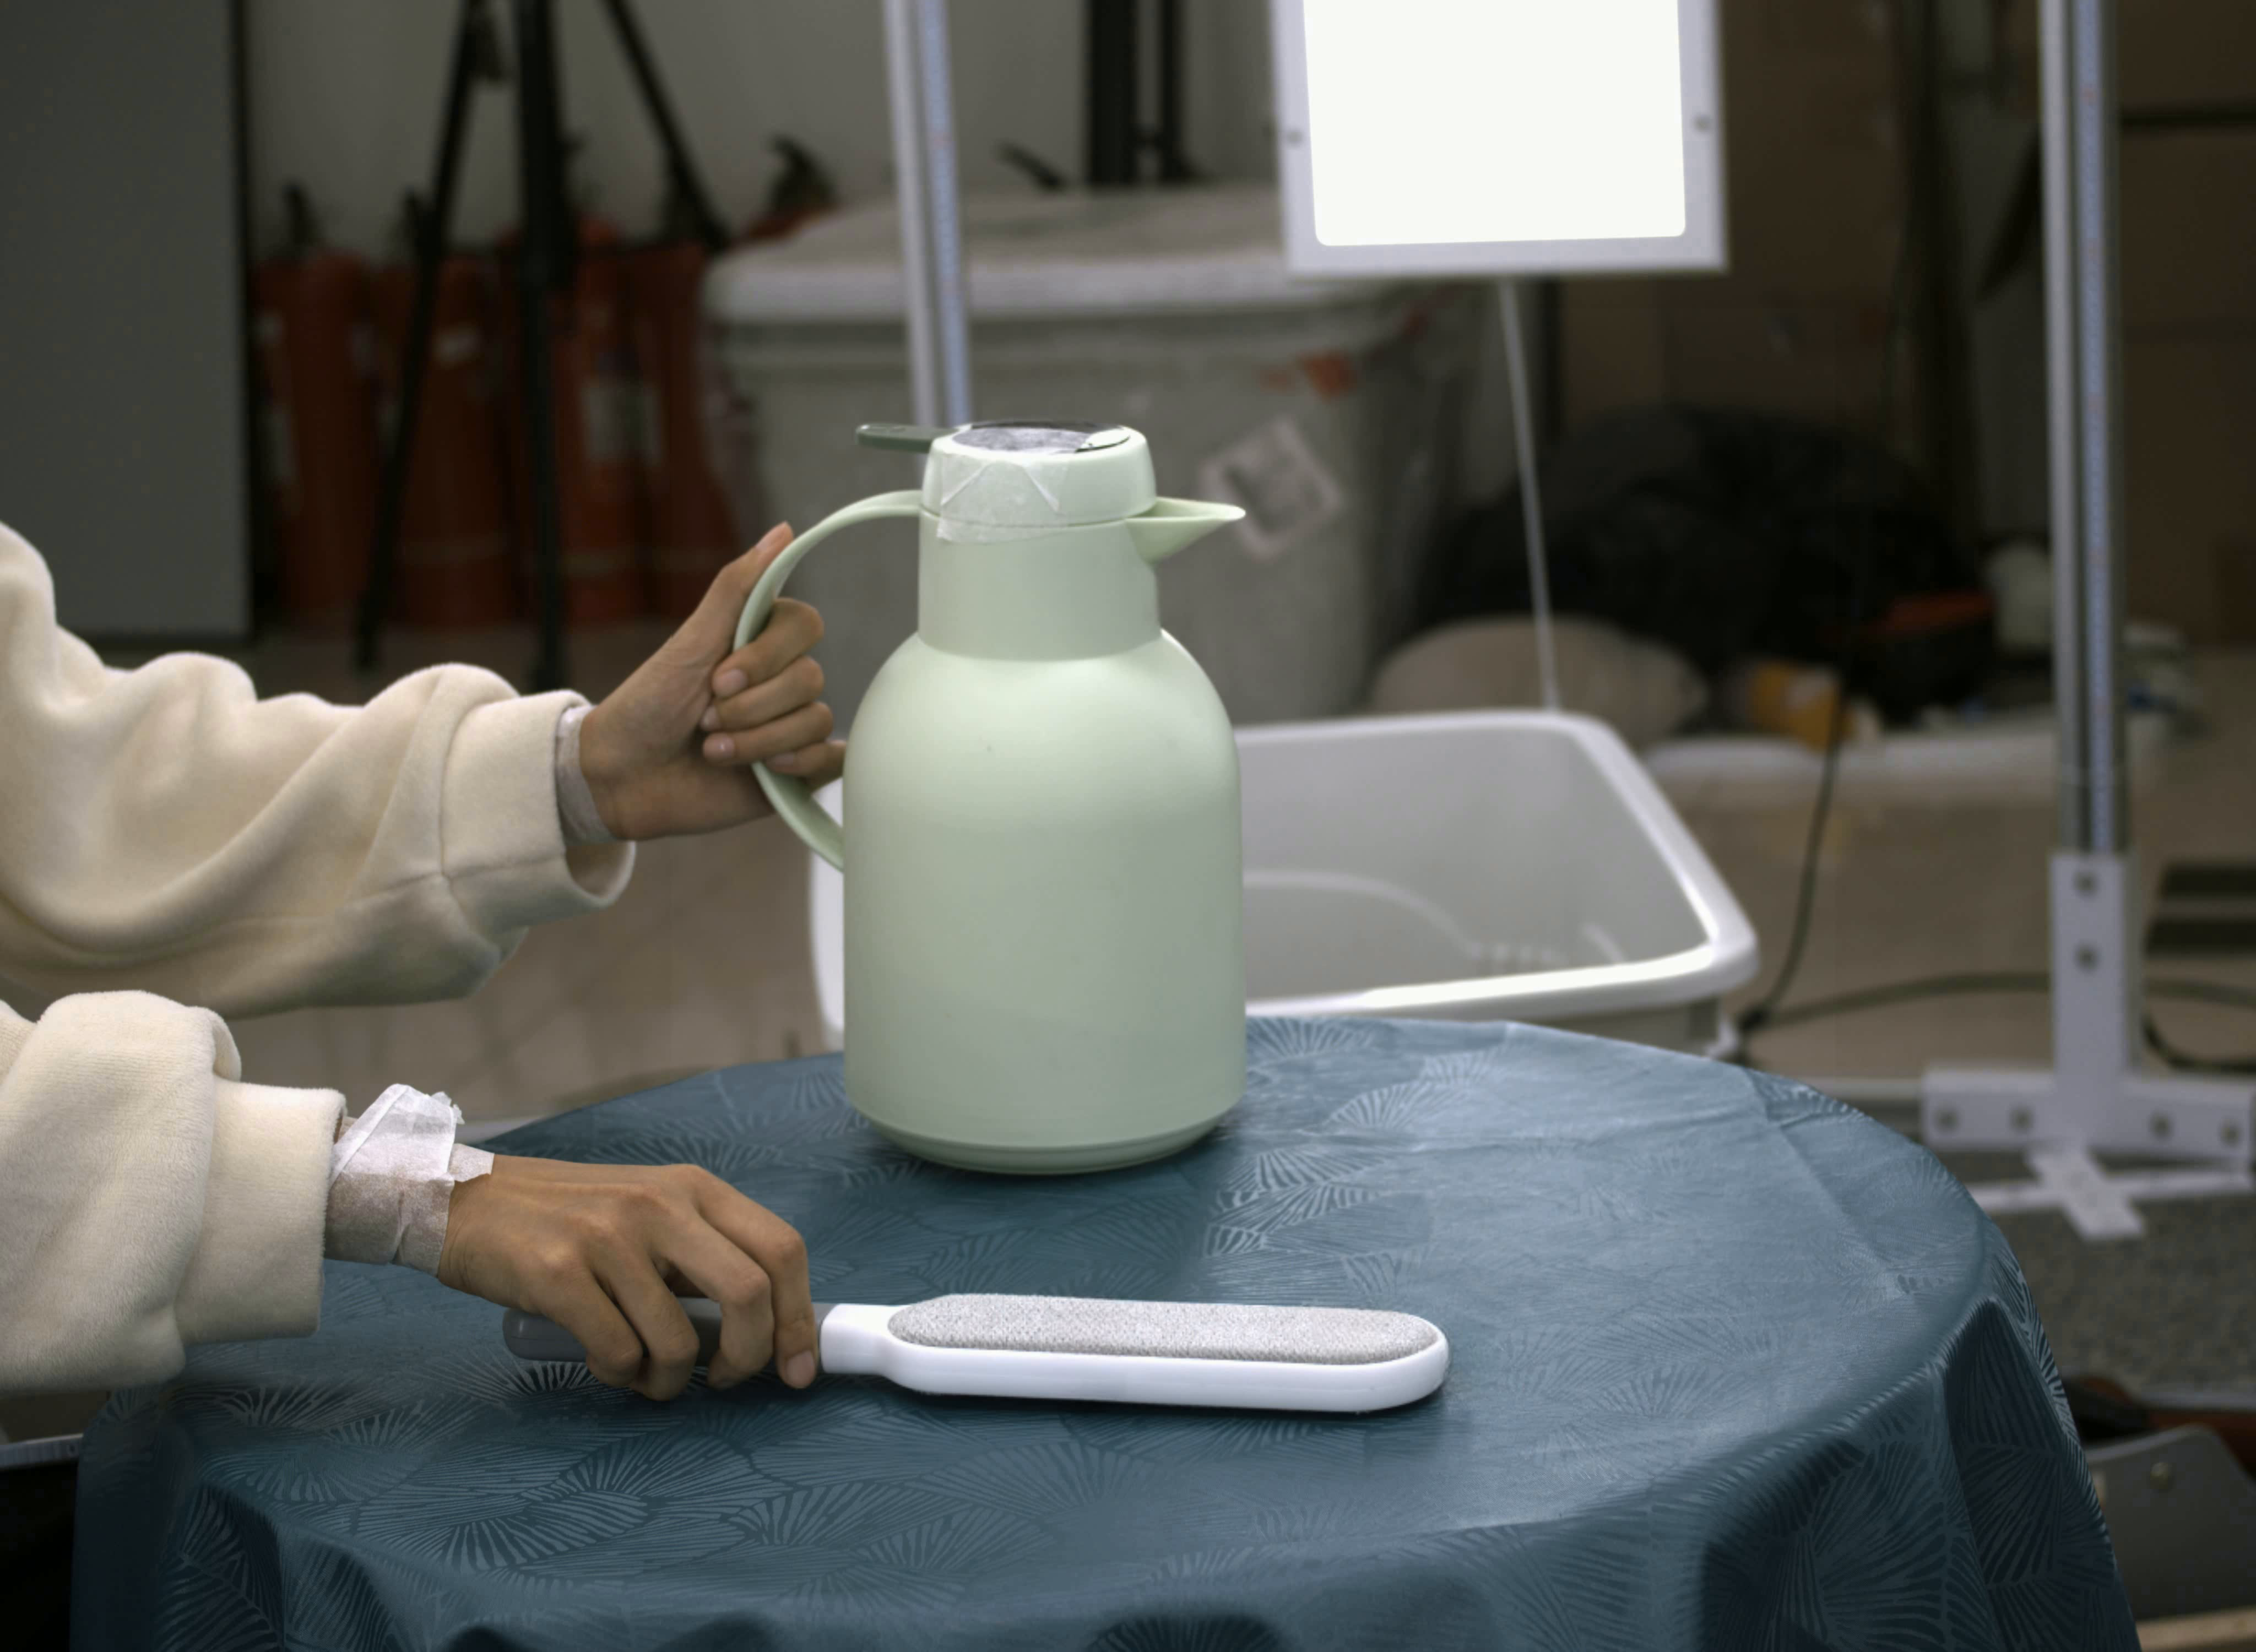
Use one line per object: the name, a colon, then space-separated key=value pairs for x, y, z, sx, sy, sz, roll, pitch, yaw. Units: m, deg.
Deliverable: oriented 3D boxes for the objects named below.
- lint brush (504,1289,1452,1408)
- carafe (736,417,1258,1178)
lint brush: x=-0.051 y=0.160 z=1.720 sx=0.312 sy=0.021 sz=0.059 roll=1 pitch=16 yaw=19
carafe: x=-0.043 y=-0.015 z=1.948 sx=0.189 sy=0.258 sz=0.142 roll=0 pitch=16 yaw=17
